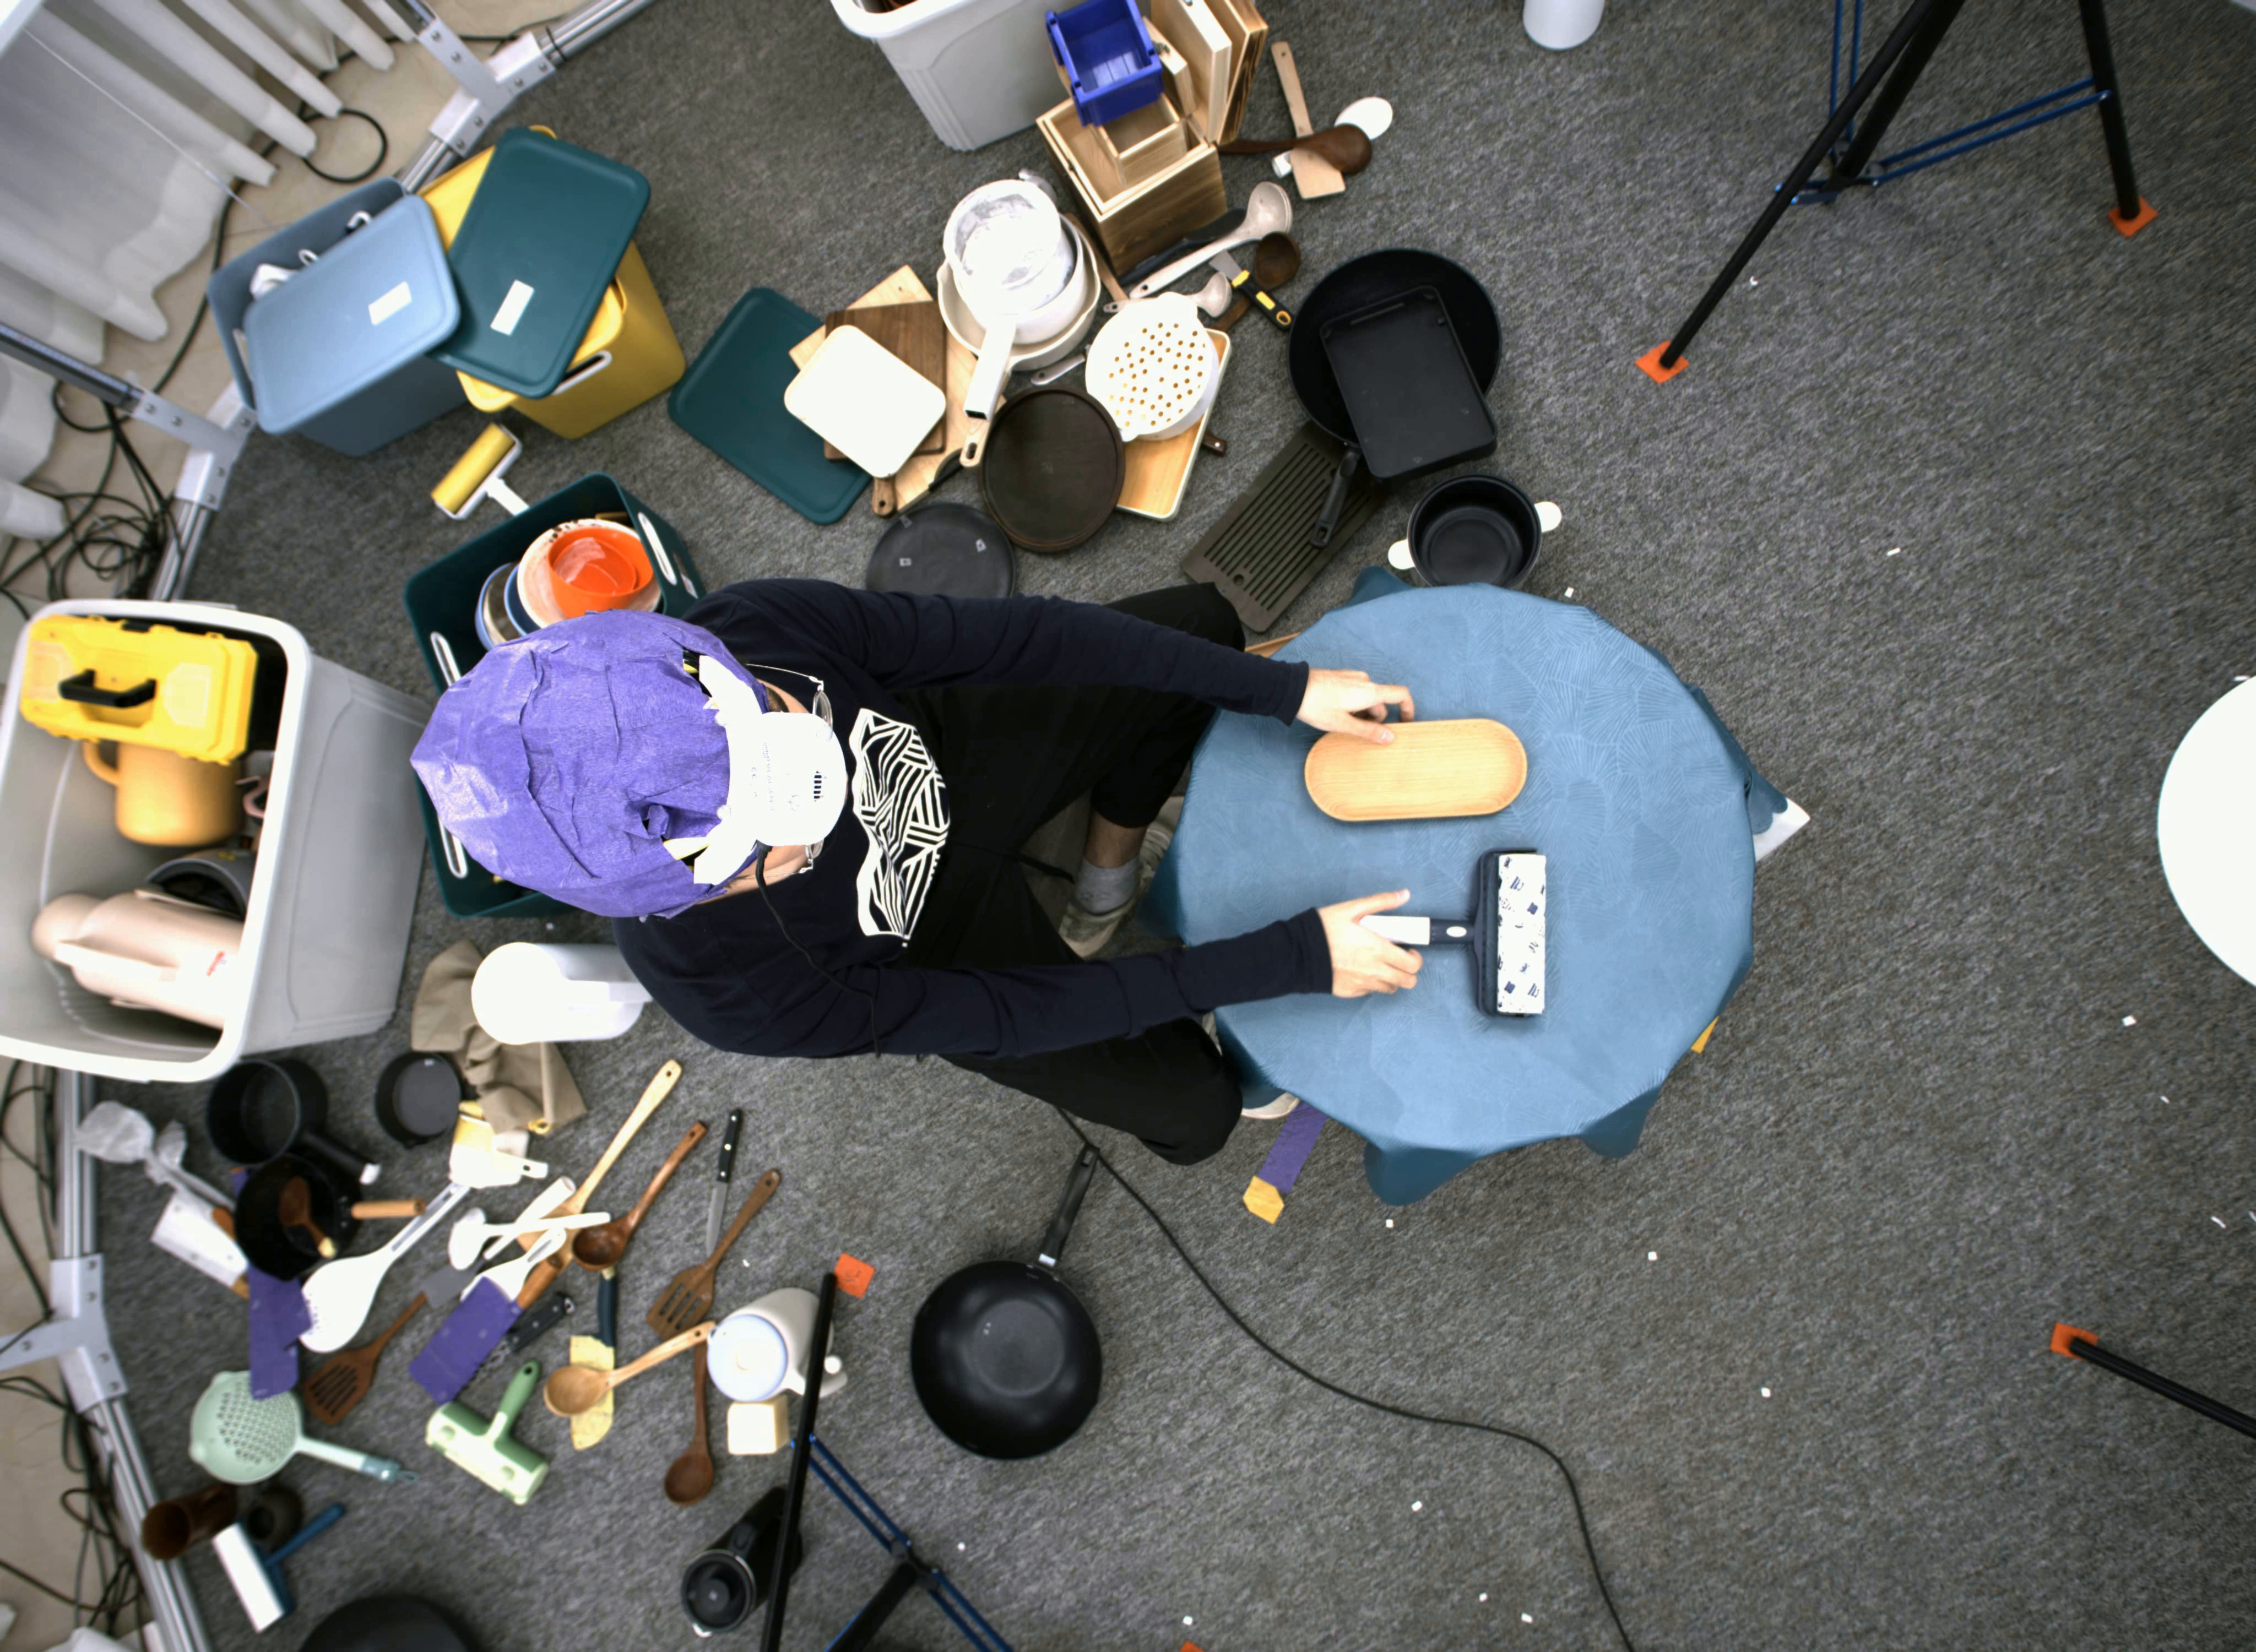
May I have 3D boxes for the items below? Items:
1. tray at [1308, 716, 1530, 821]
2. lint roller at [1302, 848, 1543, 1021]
[{"bbox_3d":[0.304,-0.062,1.444,0.232,0.020,0.102,-5,94,6],"label":"tray"},{"bbox_3d":[0.303,0.109,1.432,0.248,0.050,0.175,0,87,14],"label":"lint roller"}]
